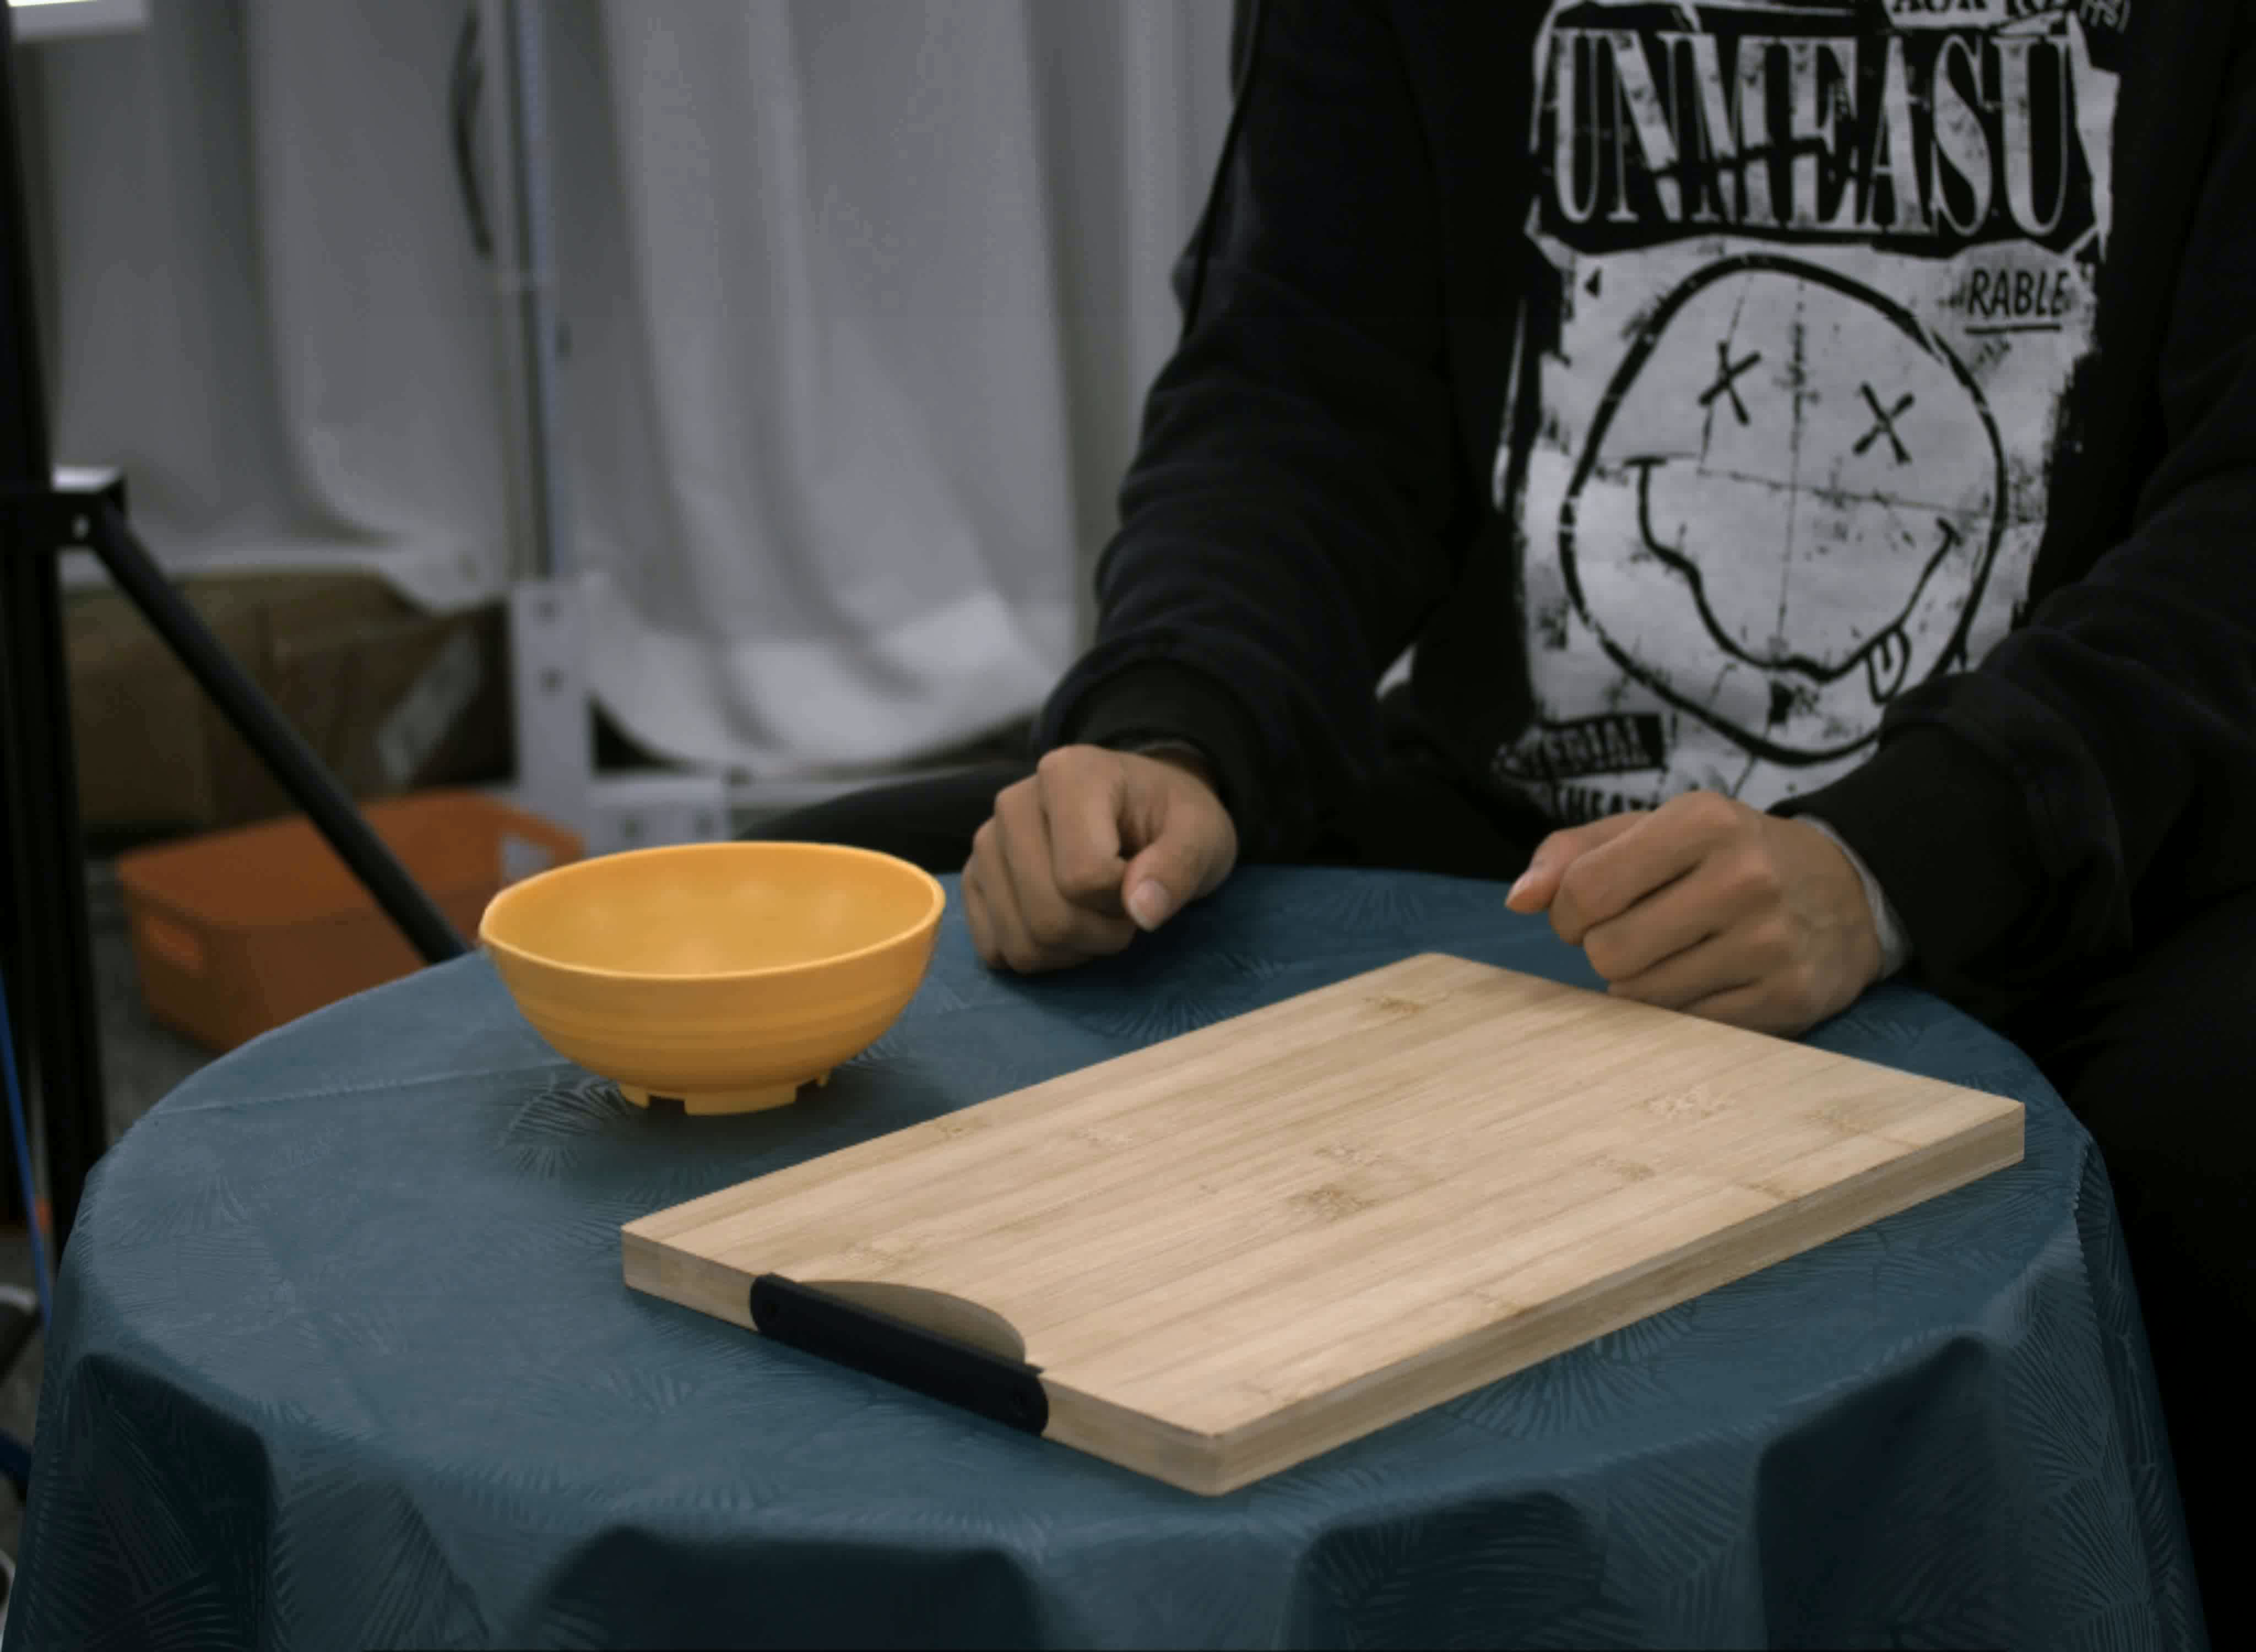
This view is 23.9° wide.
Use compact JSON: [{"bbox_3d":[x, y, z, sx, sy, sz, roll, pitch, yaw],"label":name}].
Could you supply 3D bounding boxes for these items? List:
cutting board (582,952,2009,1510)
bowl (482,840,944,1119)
[{"bbox_3d":[0.055,0.108,1.521,0.340,0.023,0.256,-17,21,-41],"label":"cutting board"},{"bbox_3d":[-0.130,0.053,1.671,0.144,0.060,0.146,0,17,-1],"label":"bowl"}]
